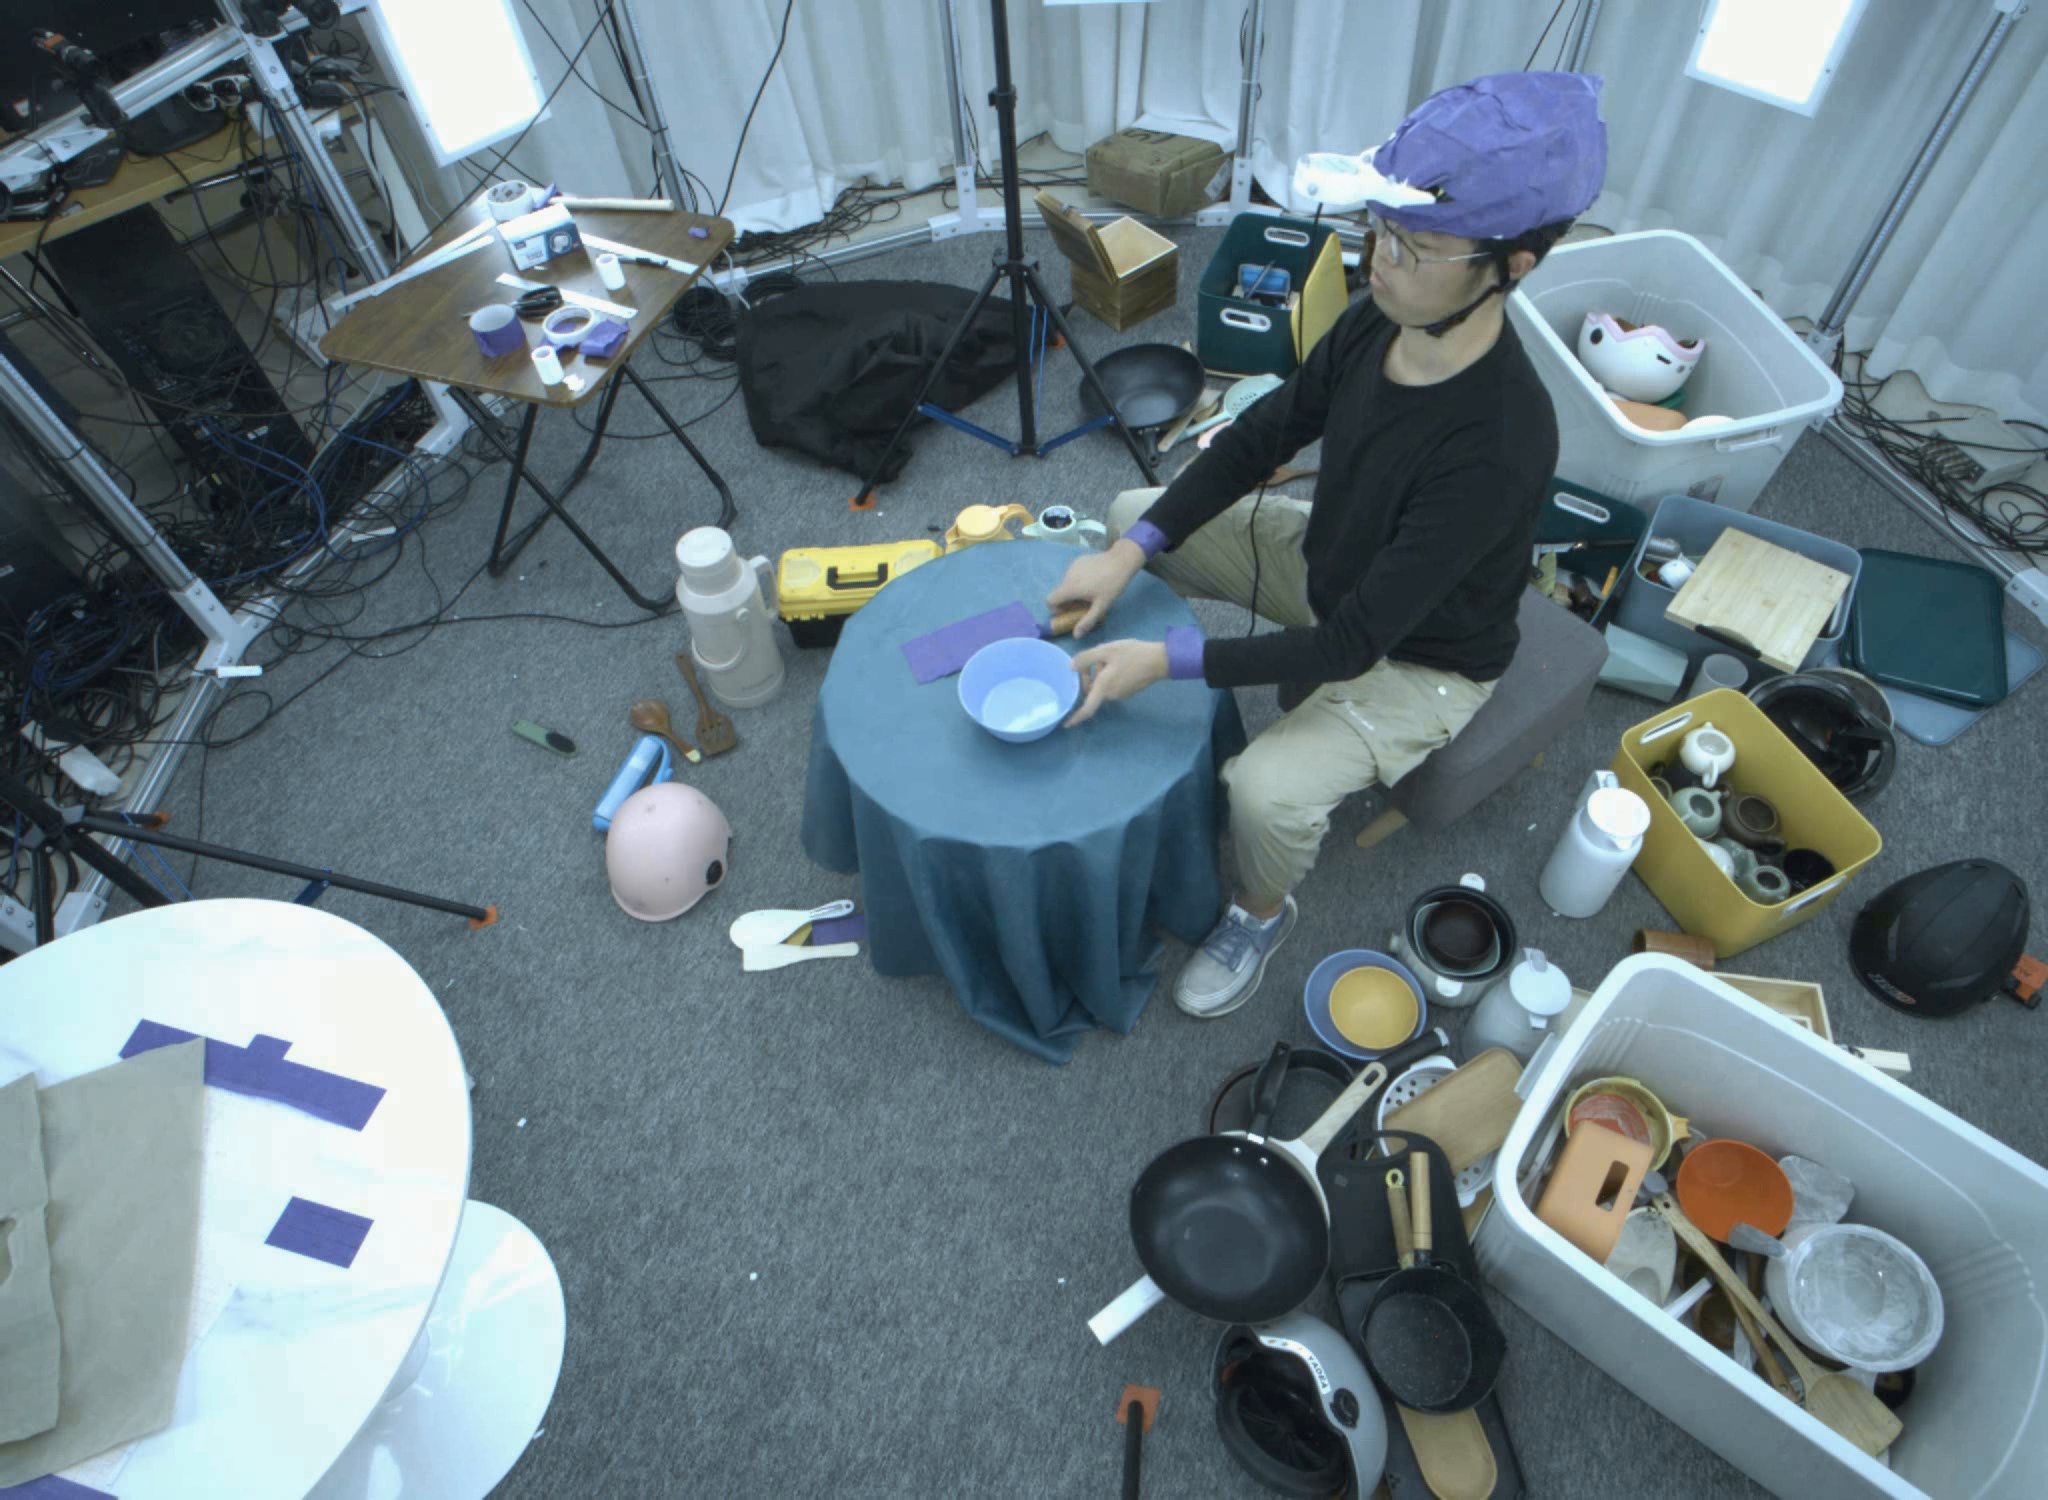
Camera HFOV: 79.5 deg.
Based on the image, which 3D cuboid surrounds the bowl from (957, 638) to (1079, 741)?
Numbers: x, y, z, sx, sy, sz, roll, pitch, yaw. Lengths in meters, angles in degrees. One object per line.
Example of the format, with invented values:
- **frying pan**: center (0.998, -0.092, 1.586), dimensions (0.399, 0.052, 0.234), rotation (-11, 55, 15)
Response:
- **bowl**: center (-0.008, -0.078, 1.795), dimensions (0.176, 0.071, 0.174), rotation (0, 55, 1)

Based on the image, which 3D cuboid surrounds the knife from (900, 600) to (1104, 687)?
- **knife**: center (-0.036, -0.188, 1.903), dimensions (0.317, 0.032, 0.102), rotation (-21, 57, -12)
